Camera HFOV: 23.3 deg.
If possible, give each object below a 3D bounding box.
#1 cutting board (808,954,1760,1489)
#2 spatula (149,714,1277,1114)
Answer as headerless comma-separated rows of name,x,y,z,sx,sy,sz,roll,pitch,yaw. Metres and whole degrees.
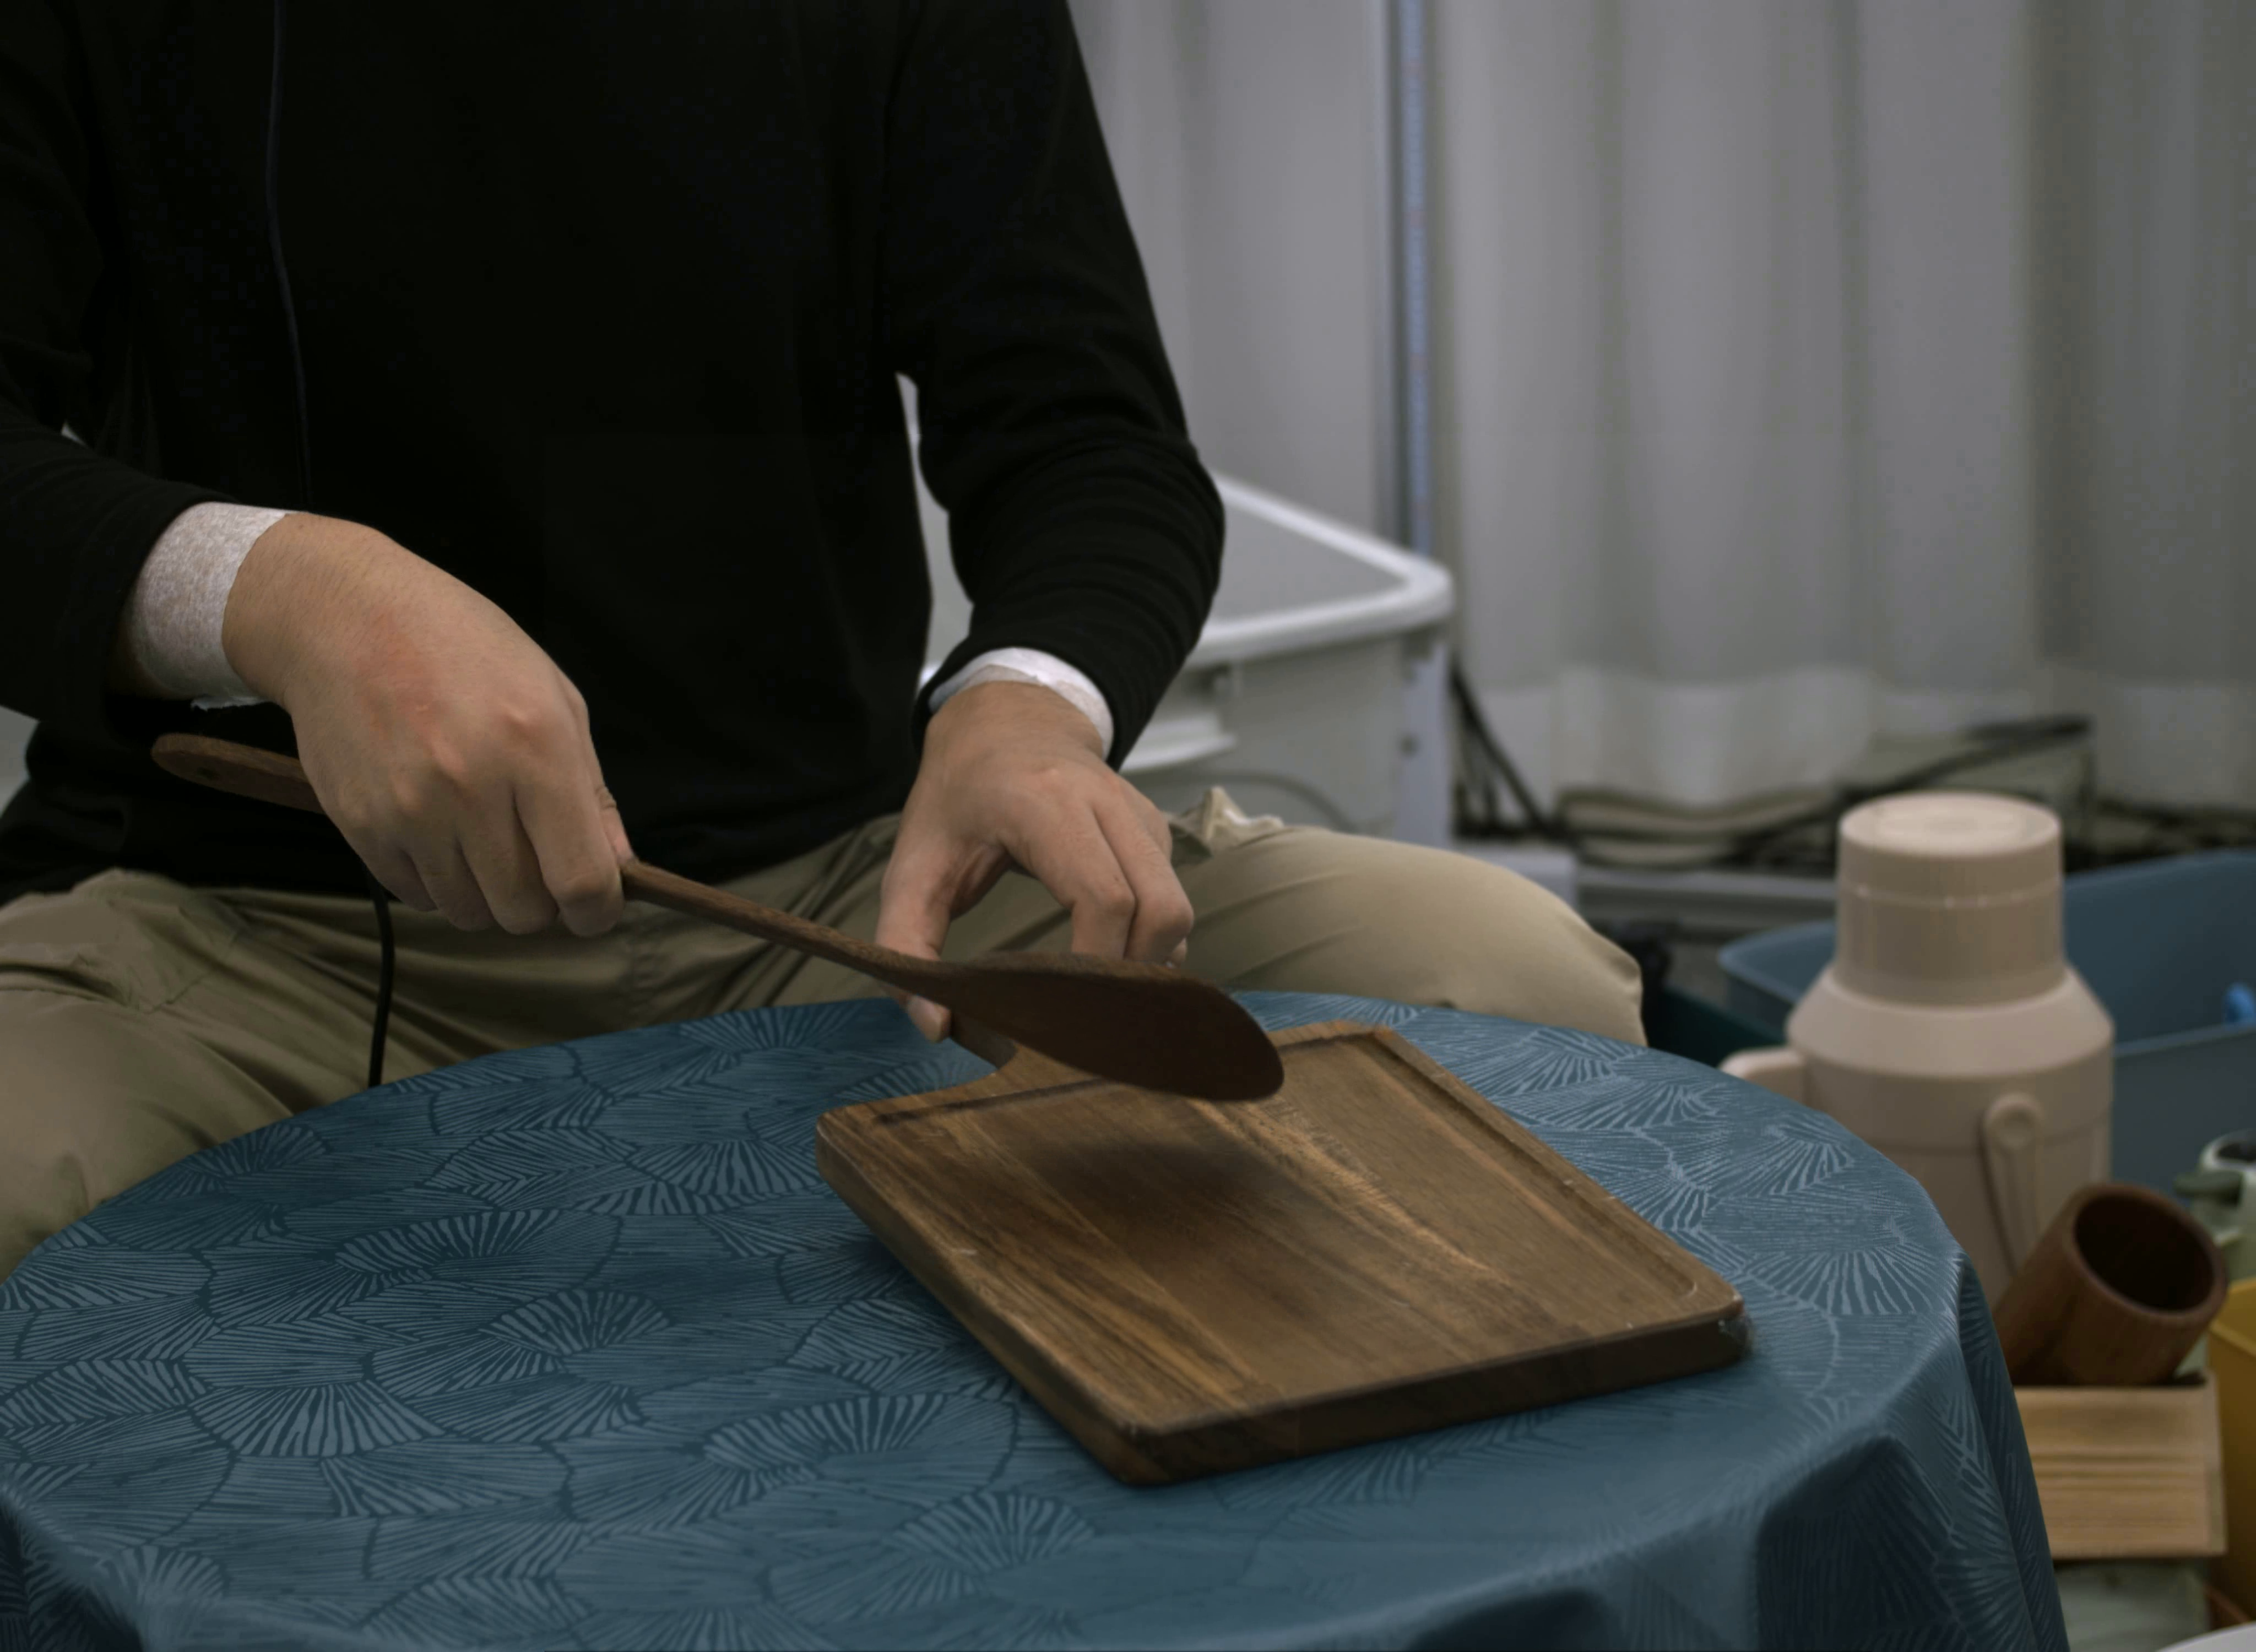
cutting board,0.020,0.104,1.652,0.200,0.023,0.355,-9,21,-22
spatula,-0.133,0.021,1.674,0.387,0.016,0.095,17,-22,19
